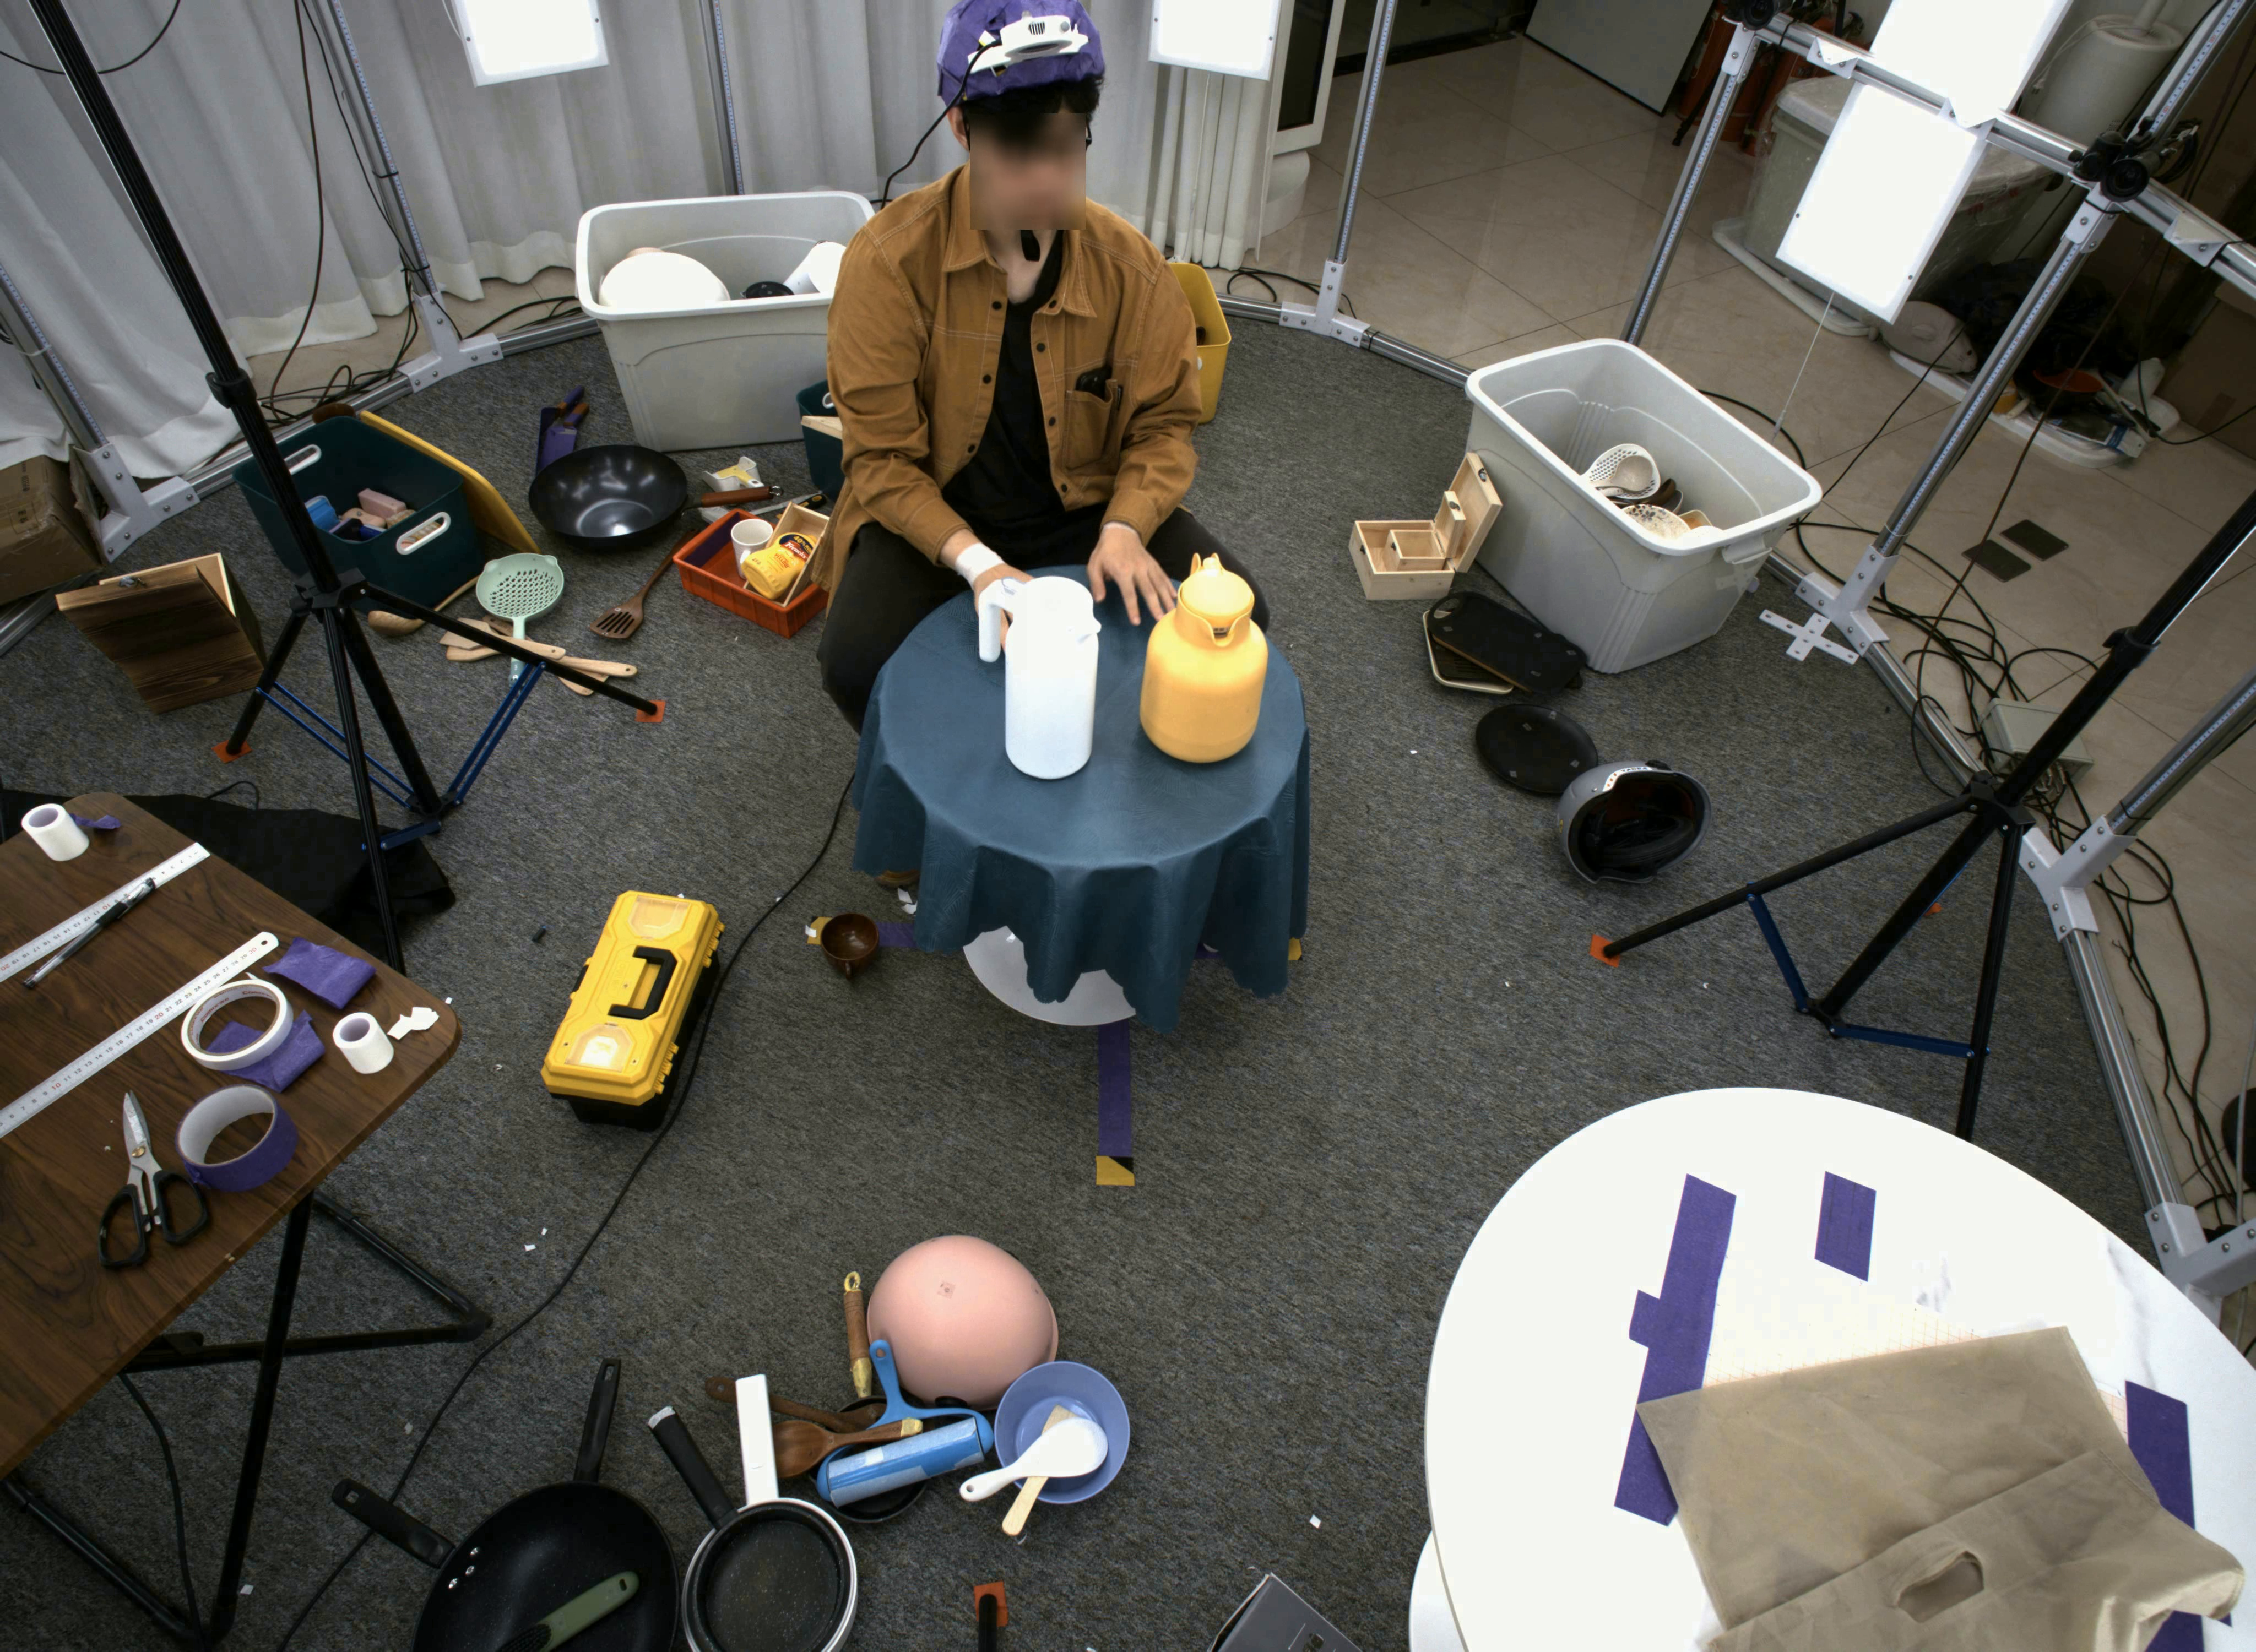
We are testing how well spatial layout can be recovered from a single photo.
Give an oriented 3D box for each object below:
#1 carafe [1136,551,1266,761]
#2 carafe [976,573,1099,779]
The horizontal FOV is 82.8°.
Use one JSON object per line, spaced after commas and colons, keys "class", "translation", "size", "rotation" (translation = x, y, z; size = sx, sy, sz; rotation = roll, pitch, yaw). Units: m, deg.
{"class": "carafe", "translation": [0.101, -0.233, 1.707], "size": [0.163, 0.254, 0.207], "rotation": [3, 51, -6]}
{"class": "carafe", "translation": [-0.117, -0.194, 1.658], "size": [0.174, 0.262, 0.126], "rotation": [27, 55, 18]}
